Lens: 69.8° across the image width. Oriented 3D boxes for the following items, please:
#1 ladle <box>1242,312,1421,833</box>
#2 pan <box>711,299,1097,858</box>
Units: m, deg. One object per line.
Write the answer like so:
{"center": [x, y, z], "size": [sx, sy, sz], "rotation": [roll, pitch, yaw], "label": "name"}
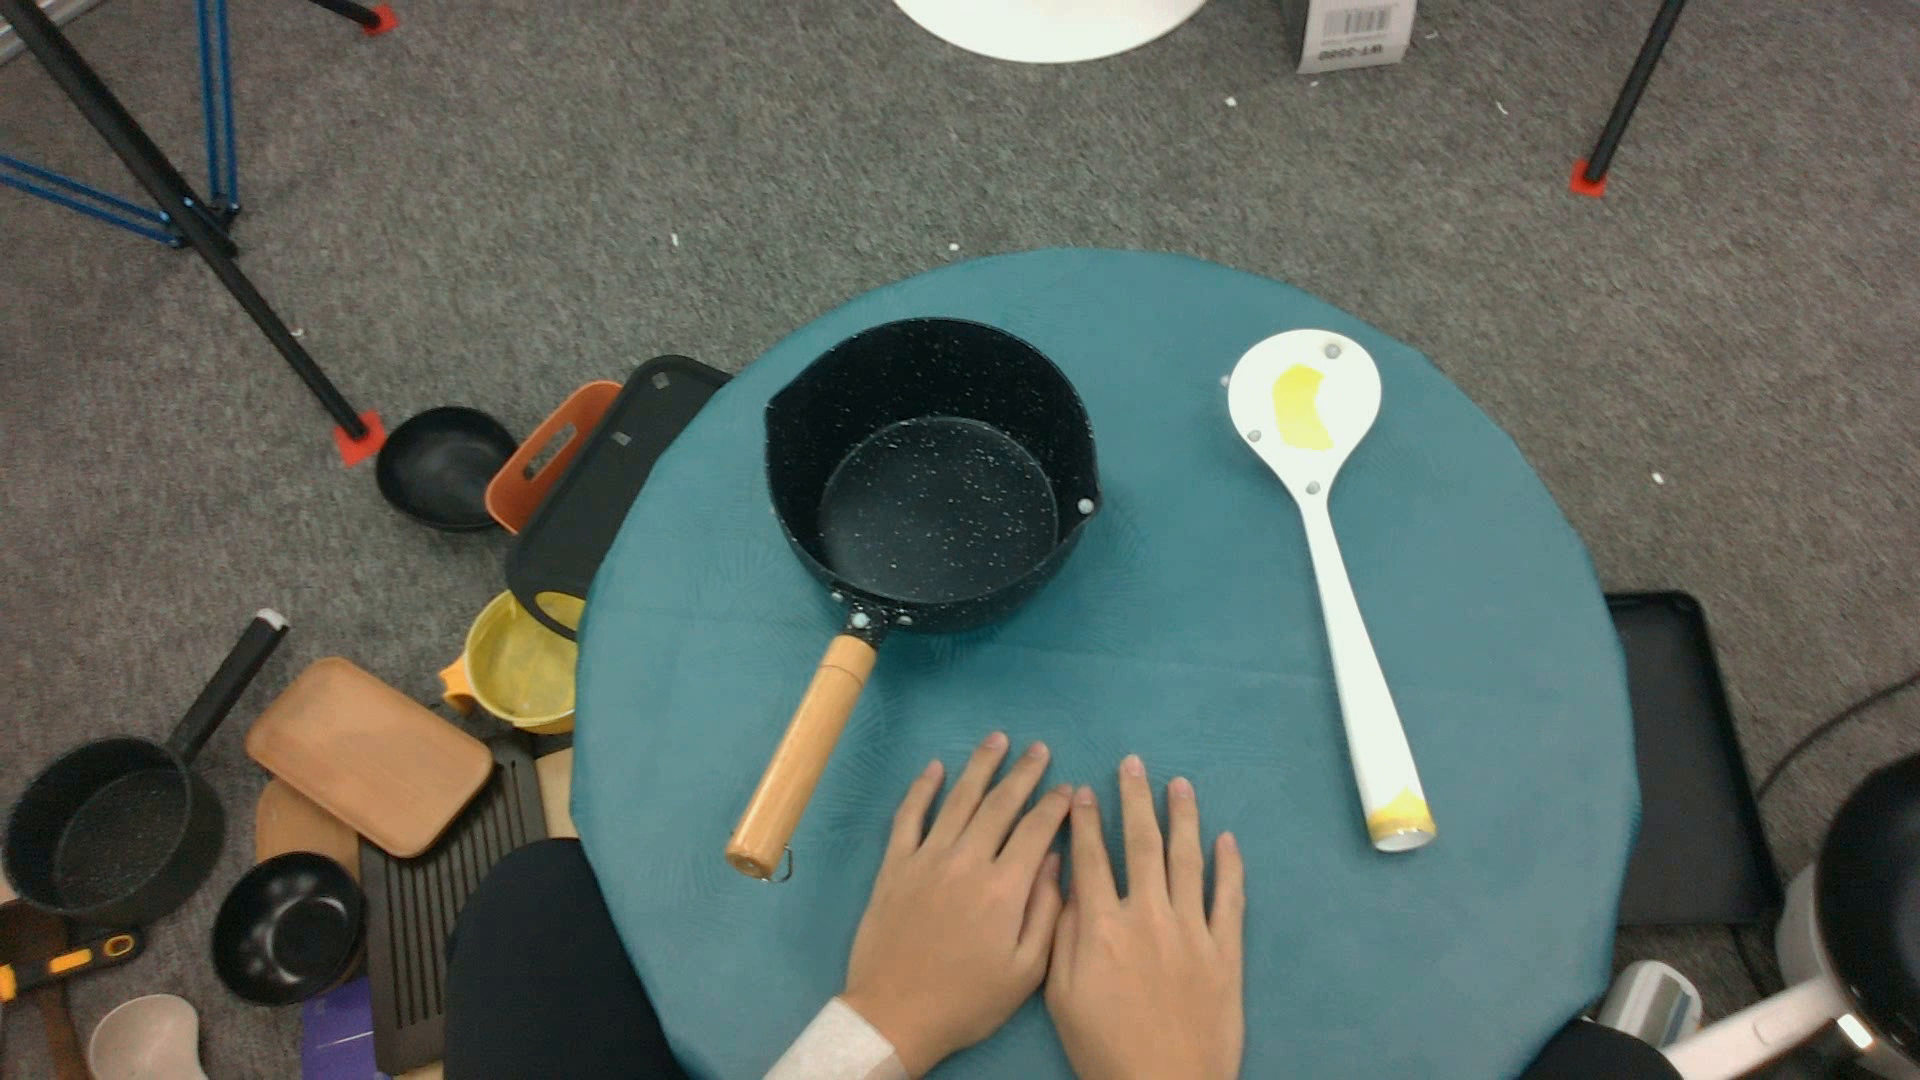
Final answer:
{"center": [0.219, 0.012, 0.776], "size": [0.090, 0.069, 0.294], "rotation": [-1, 64, -7], "label": "ladle"}
{"center": [-0.046, 0.024, 0.754], "size": [0.207, 0.108, 0.344], "rotation": [16, 64, 9], "label": "pan"}
